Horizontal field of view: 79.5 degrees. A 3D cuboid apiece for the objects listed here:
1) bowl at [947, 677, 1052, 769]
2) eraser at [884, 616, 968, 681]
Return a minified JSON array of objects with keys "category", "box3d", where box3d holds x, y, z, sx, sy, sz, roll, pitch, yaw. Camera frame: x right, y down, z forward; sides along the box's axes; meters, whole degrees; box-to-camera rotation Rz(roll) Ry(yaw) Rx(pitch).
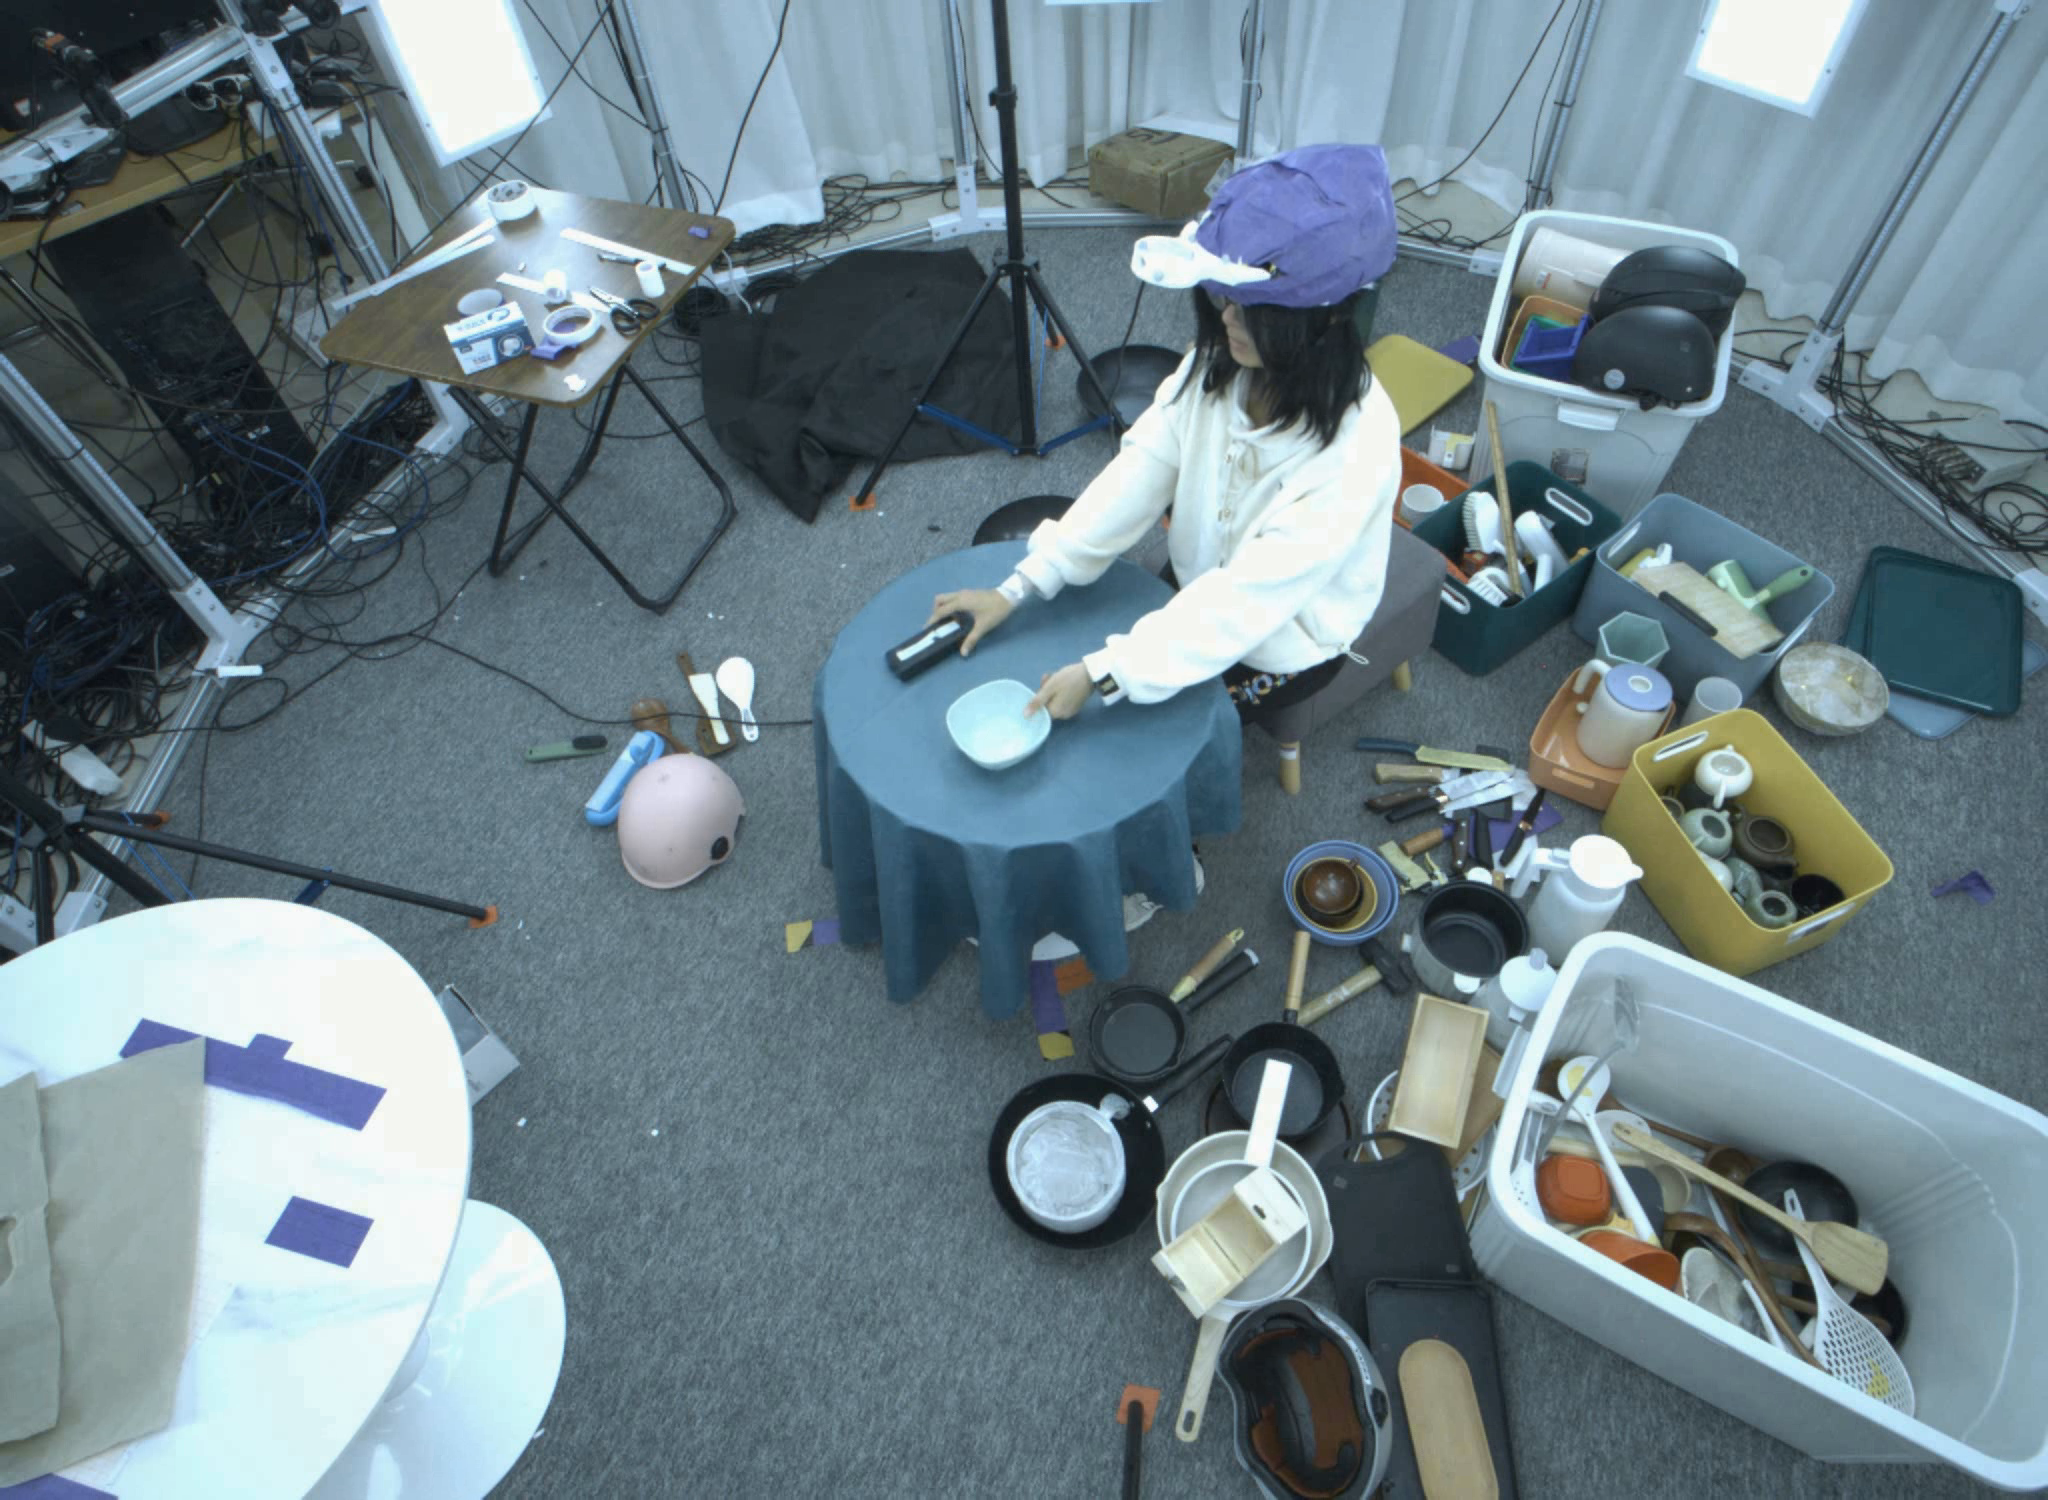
[{"category":"bowl","box3d":[-0.034,-0.028,1.773,0.151,0.059,0.150,0,58,1]},{"category":"eraser","box3d":[-0.151,-0.157,1.888,0.126,0.031,0.052,-33,61,-23]}]
